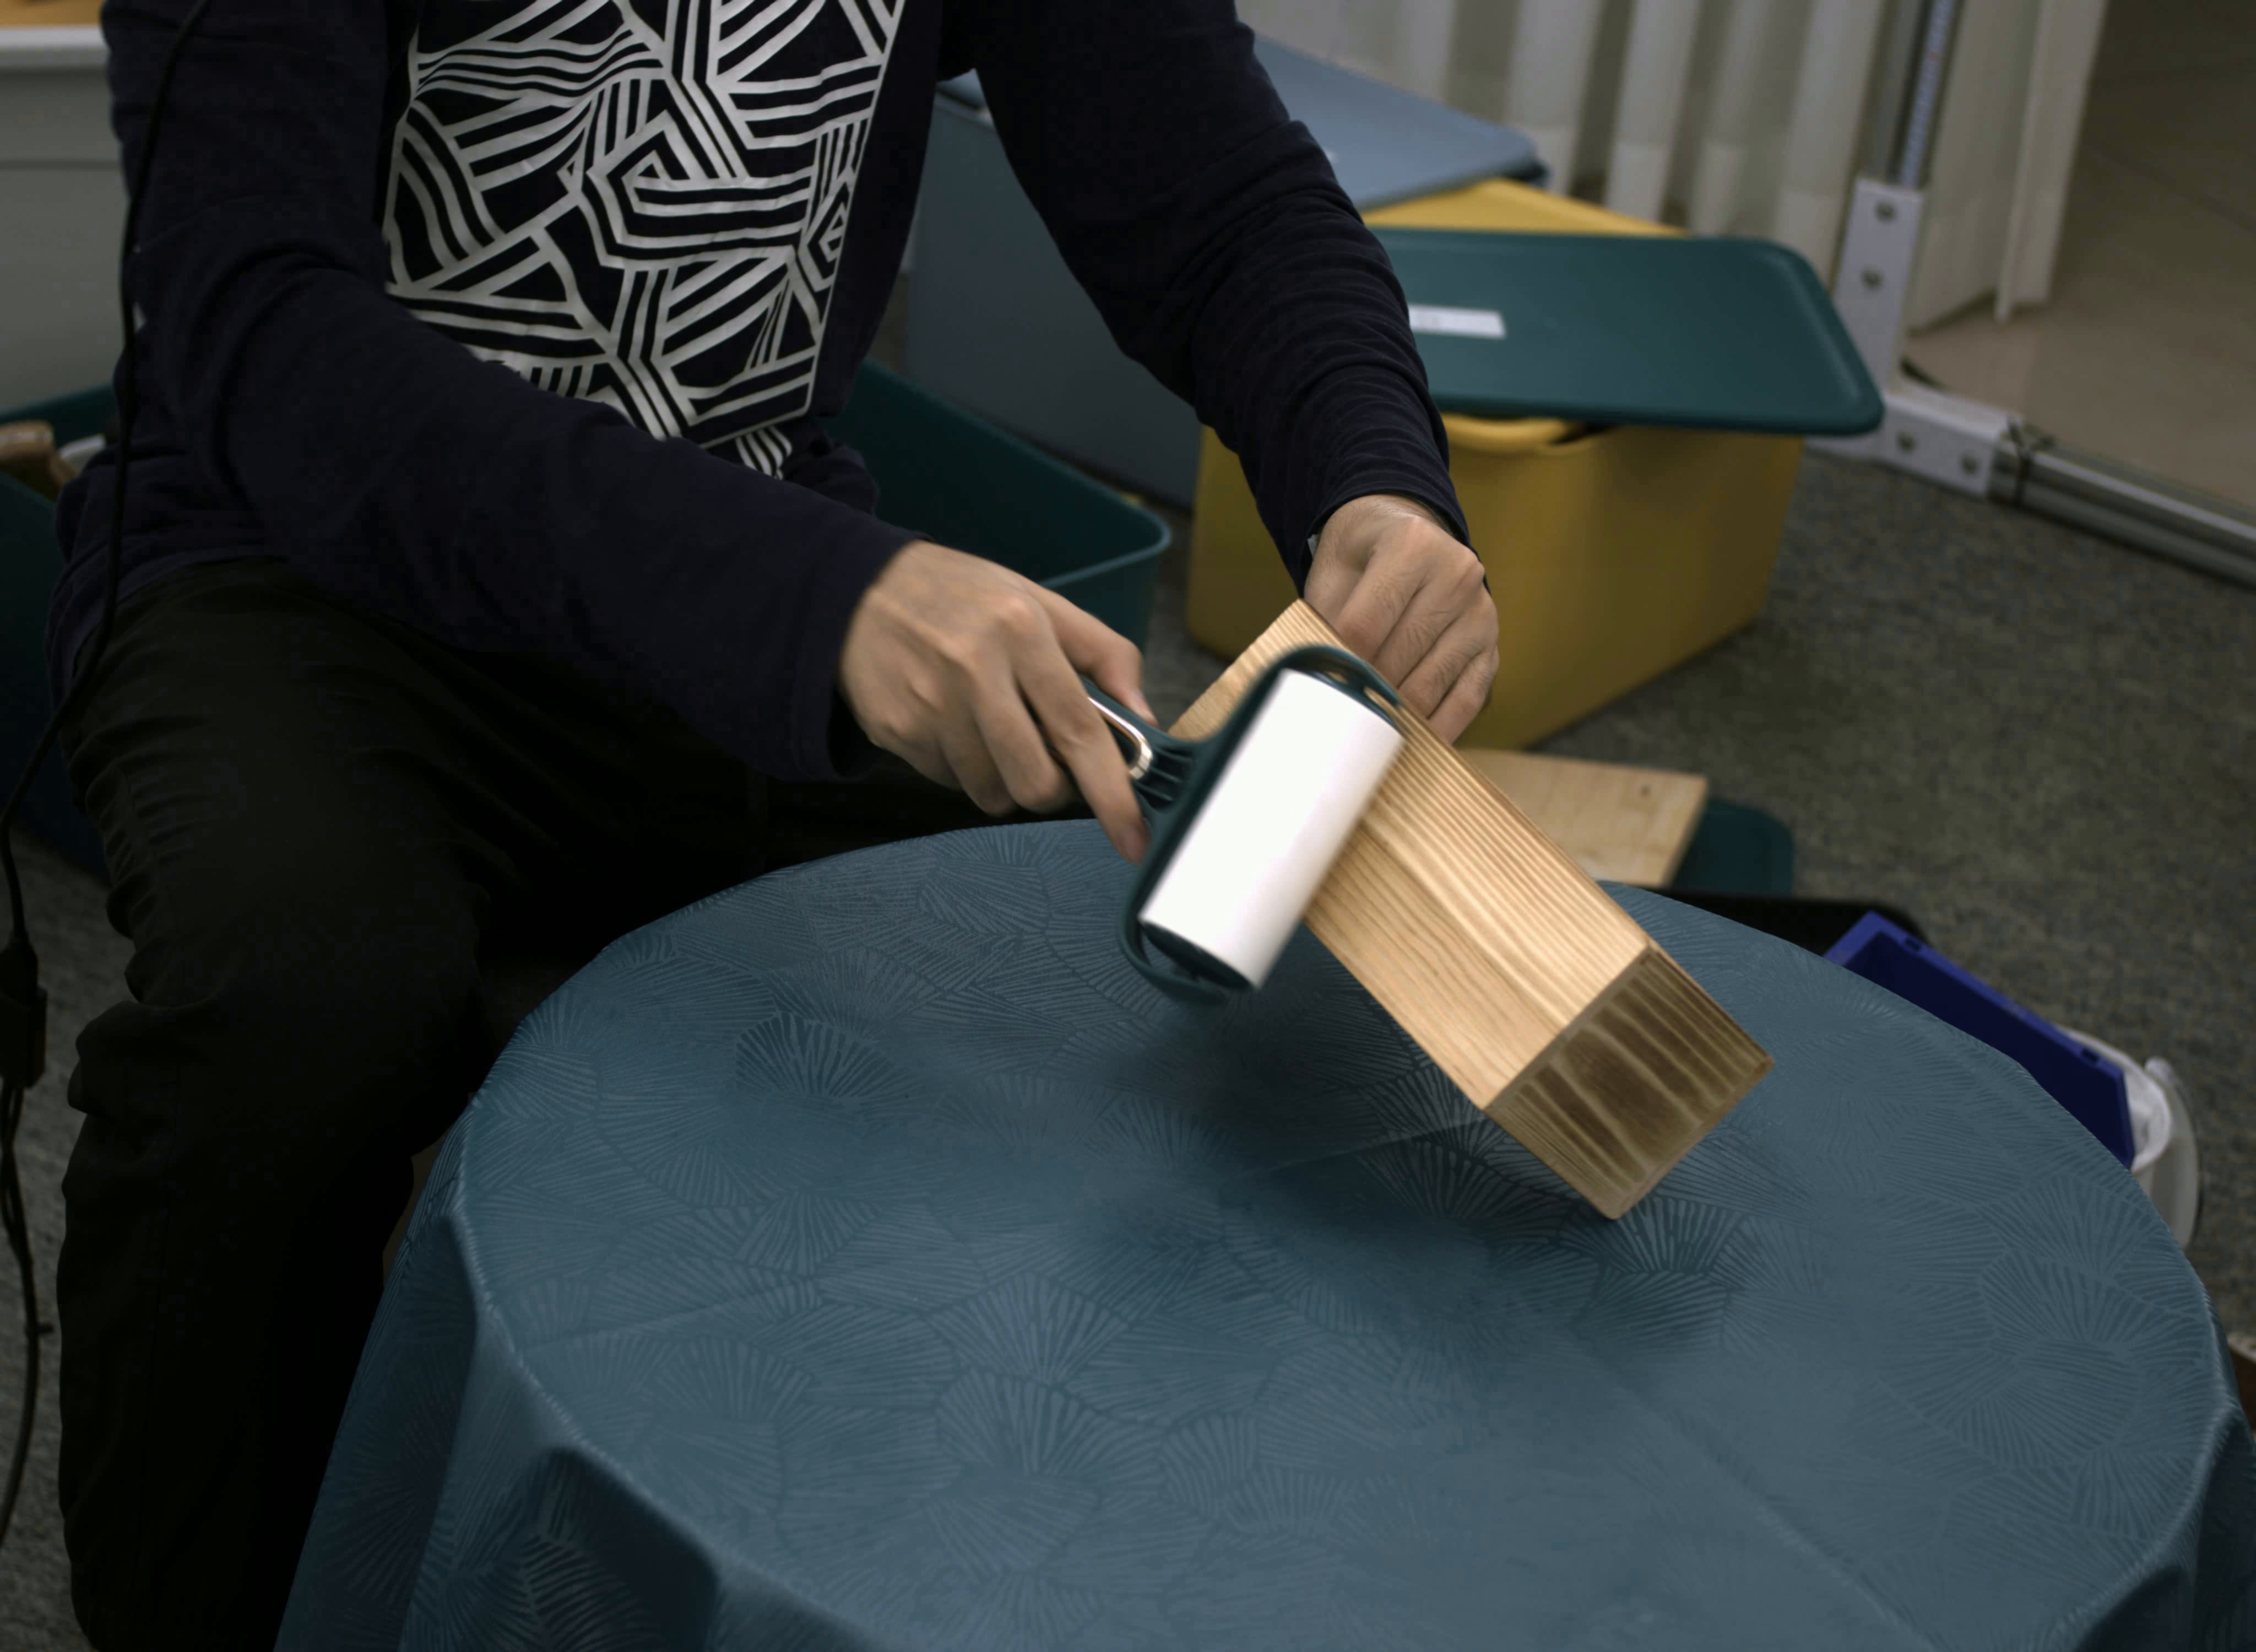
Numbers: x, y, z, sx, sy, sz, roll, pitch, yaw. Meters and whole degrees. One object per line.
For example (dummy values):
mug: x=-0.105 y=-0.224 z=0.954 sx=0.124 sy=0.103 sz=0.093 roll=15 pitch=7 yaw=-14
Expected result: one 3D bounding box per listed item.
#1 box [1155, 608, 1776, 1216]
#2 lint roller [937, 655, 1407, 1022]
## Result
box: x=0.113 y=0.028 z=1.846 sx=0.213 sy=0.080 sz=0.106 roll=46 pitch=4 yaw=40
lint roller: x=-0.002 y=-0.021 z=1.832 sx=0.181 sy=0.134 sz=0.048 roll=26 pitch=-9 yaw=29
